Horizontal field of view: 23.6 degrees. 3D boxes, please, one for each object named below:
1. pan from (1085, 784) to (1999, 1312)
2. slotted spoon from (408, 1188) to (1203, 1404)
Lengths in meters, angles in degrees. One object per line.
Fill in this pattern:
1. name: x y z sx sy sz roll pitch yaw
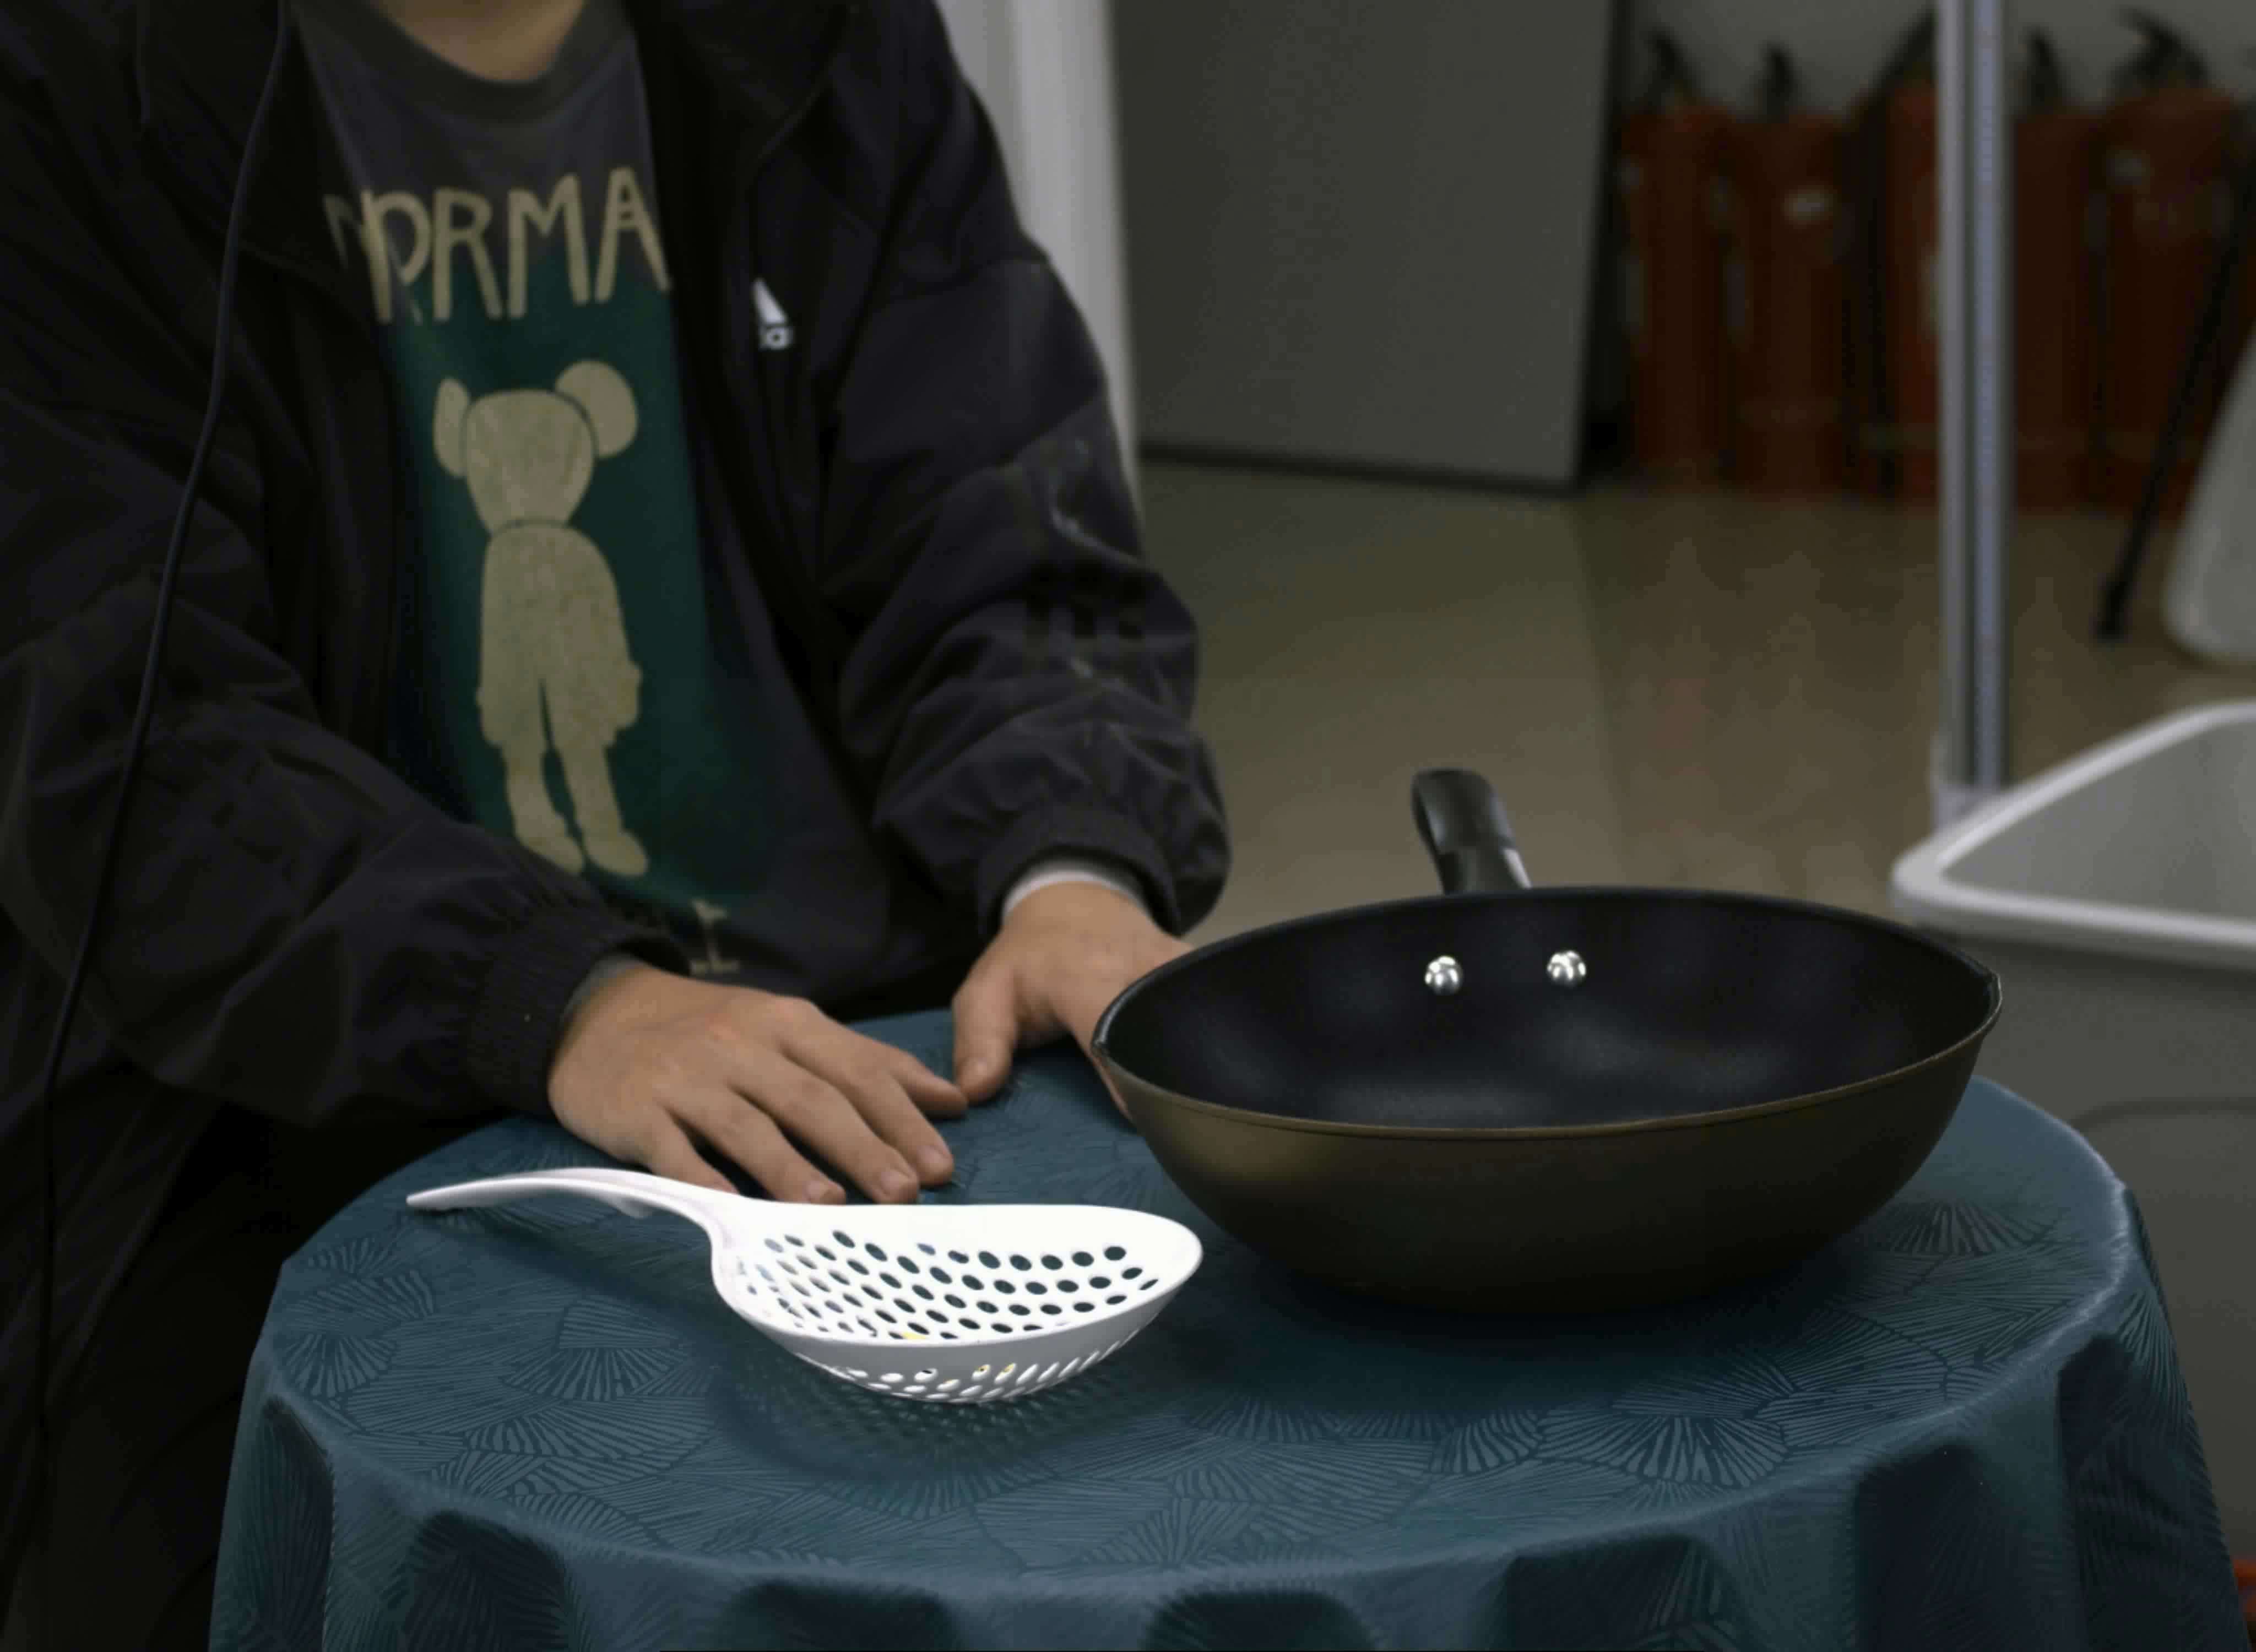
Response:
1. pan: 0.127 0.070 1.770 0.284 0.088 0.464 -4 12 -1
2. slotted spoon: -0.117 0.133 1.675 0.134 0.051 0.351 -18 19 -38
